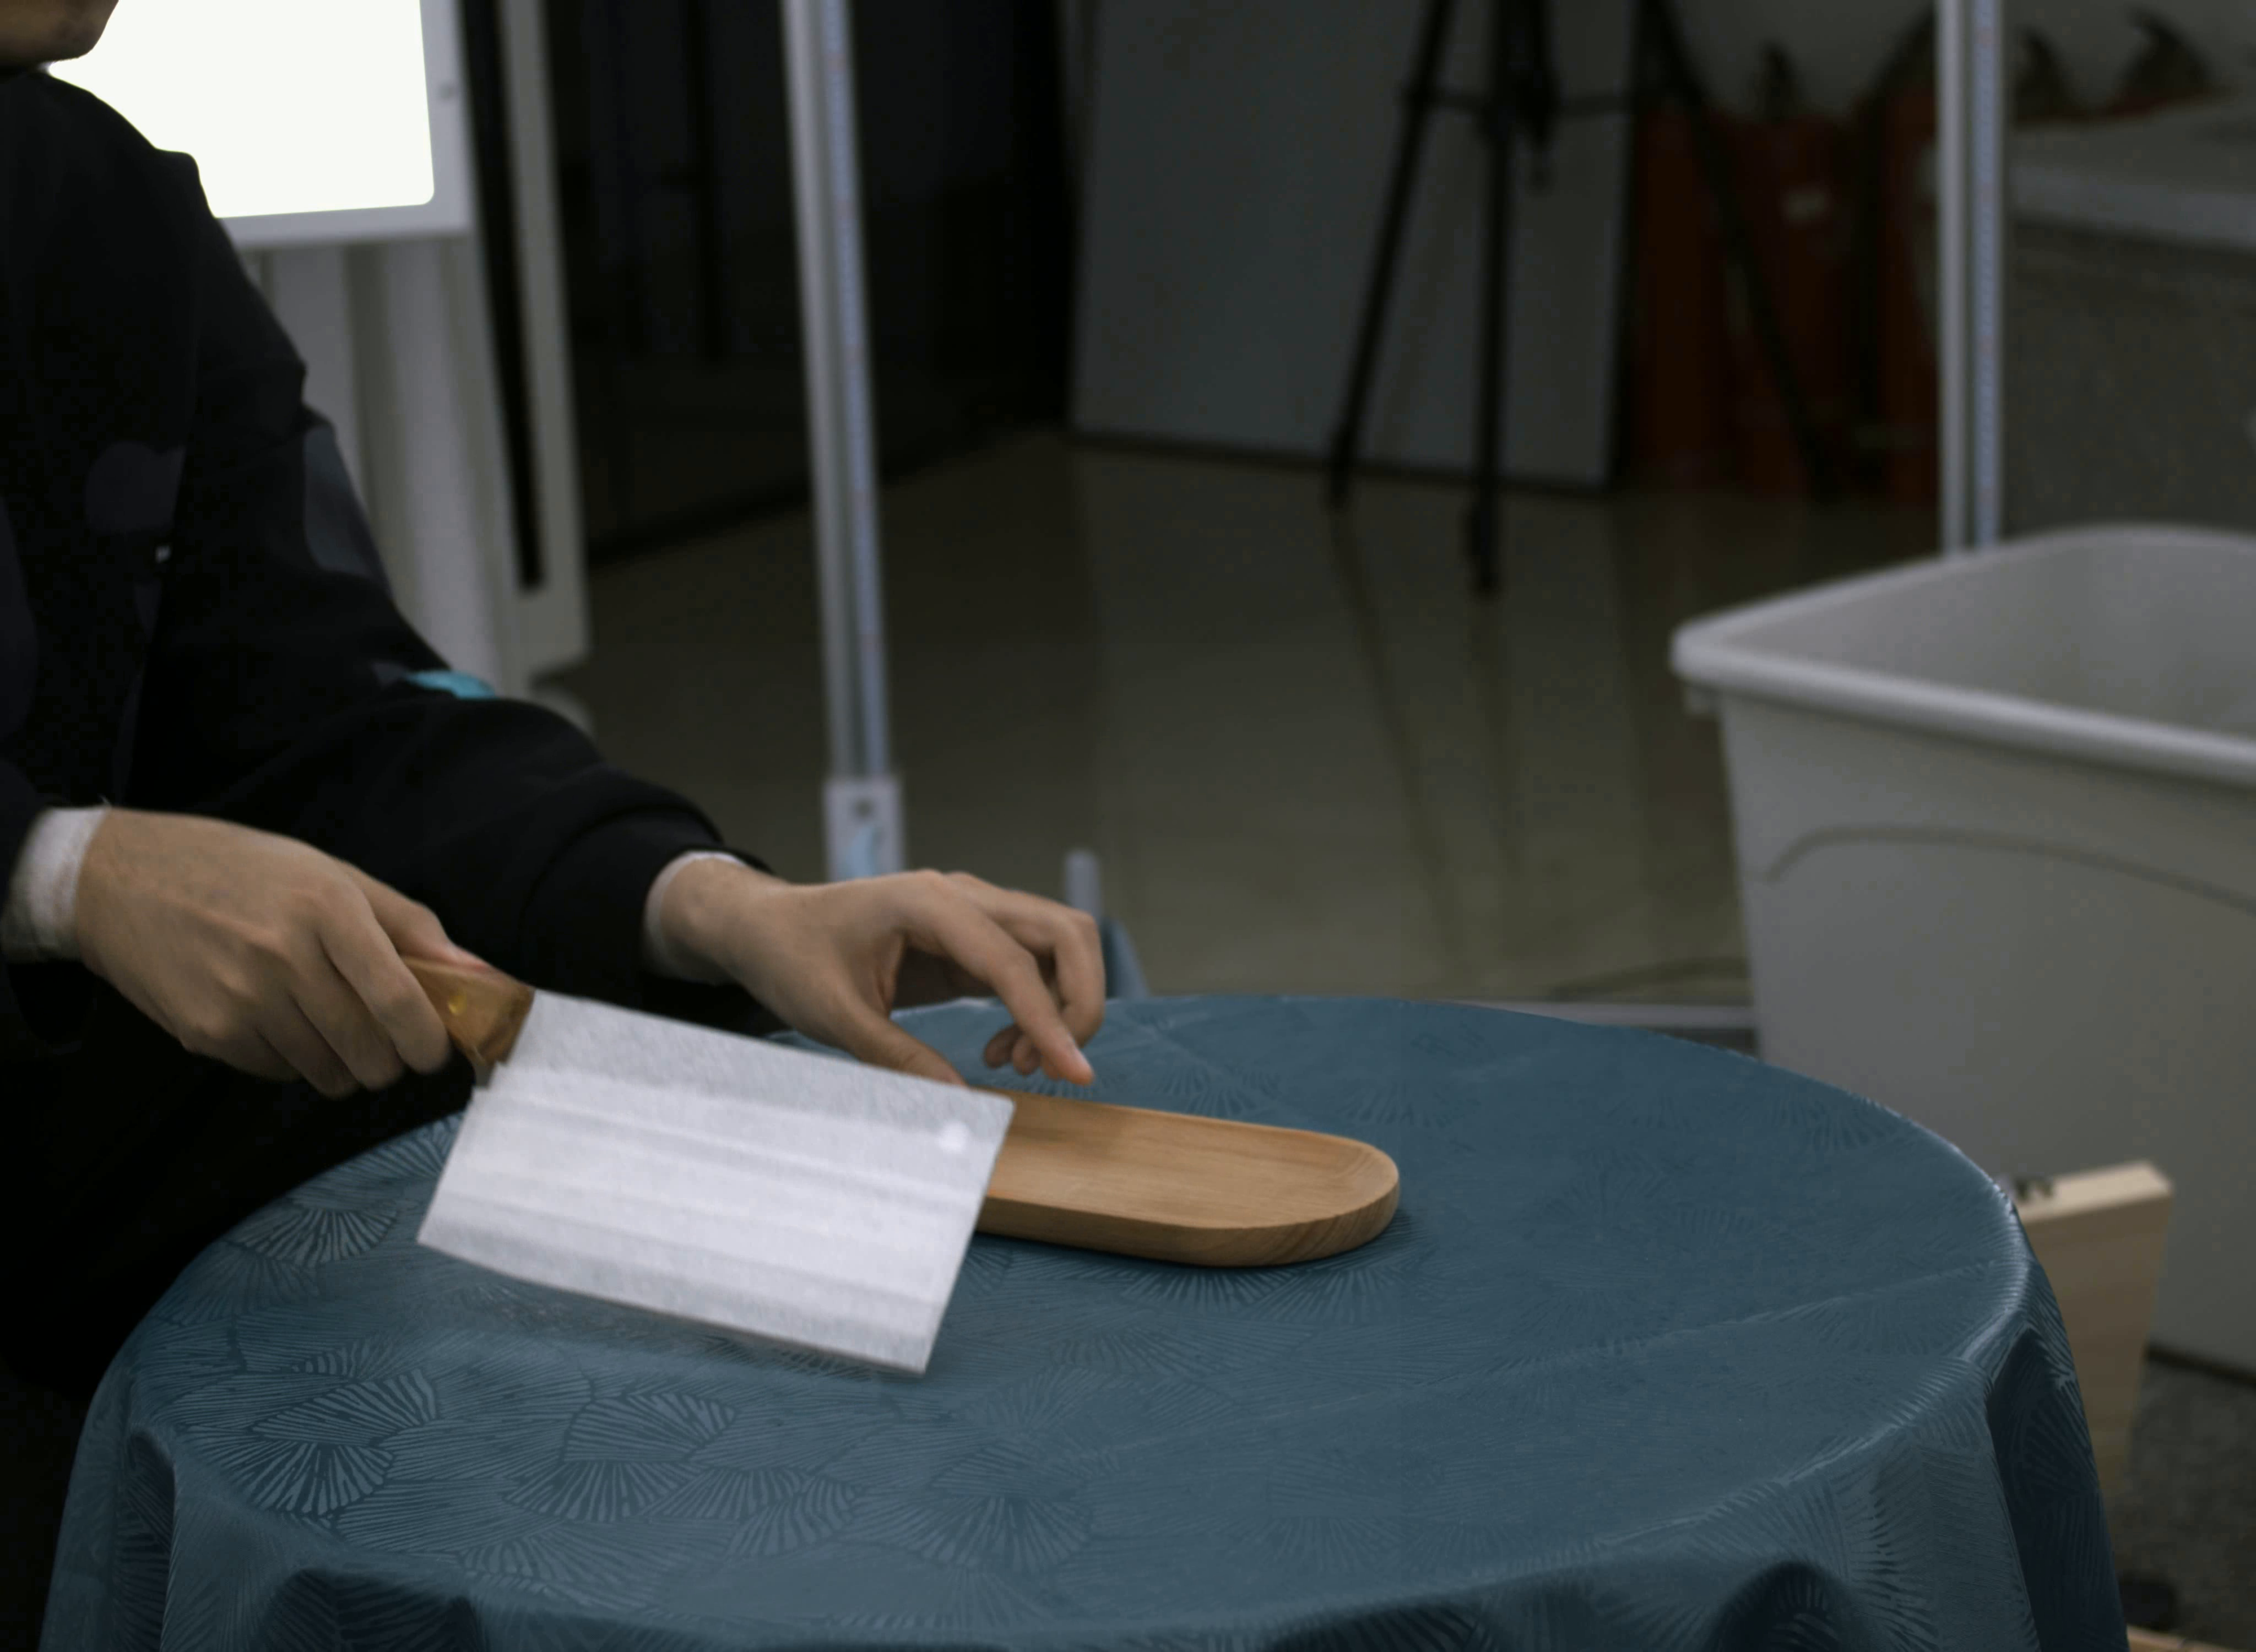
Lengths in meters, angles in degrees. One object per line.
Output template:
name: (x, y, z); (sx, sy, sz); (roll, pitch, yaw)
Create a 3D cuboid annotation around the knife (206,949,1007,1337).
knife: (-0.174, 0.100, 1.685); (0.307, 0.093, 0.021); (11, -16, 31)

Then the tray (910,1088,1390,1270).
tray: (-0.019, 0.115, 1.766); (0.232, 0.020, 0.100); (4, 15, 35)
